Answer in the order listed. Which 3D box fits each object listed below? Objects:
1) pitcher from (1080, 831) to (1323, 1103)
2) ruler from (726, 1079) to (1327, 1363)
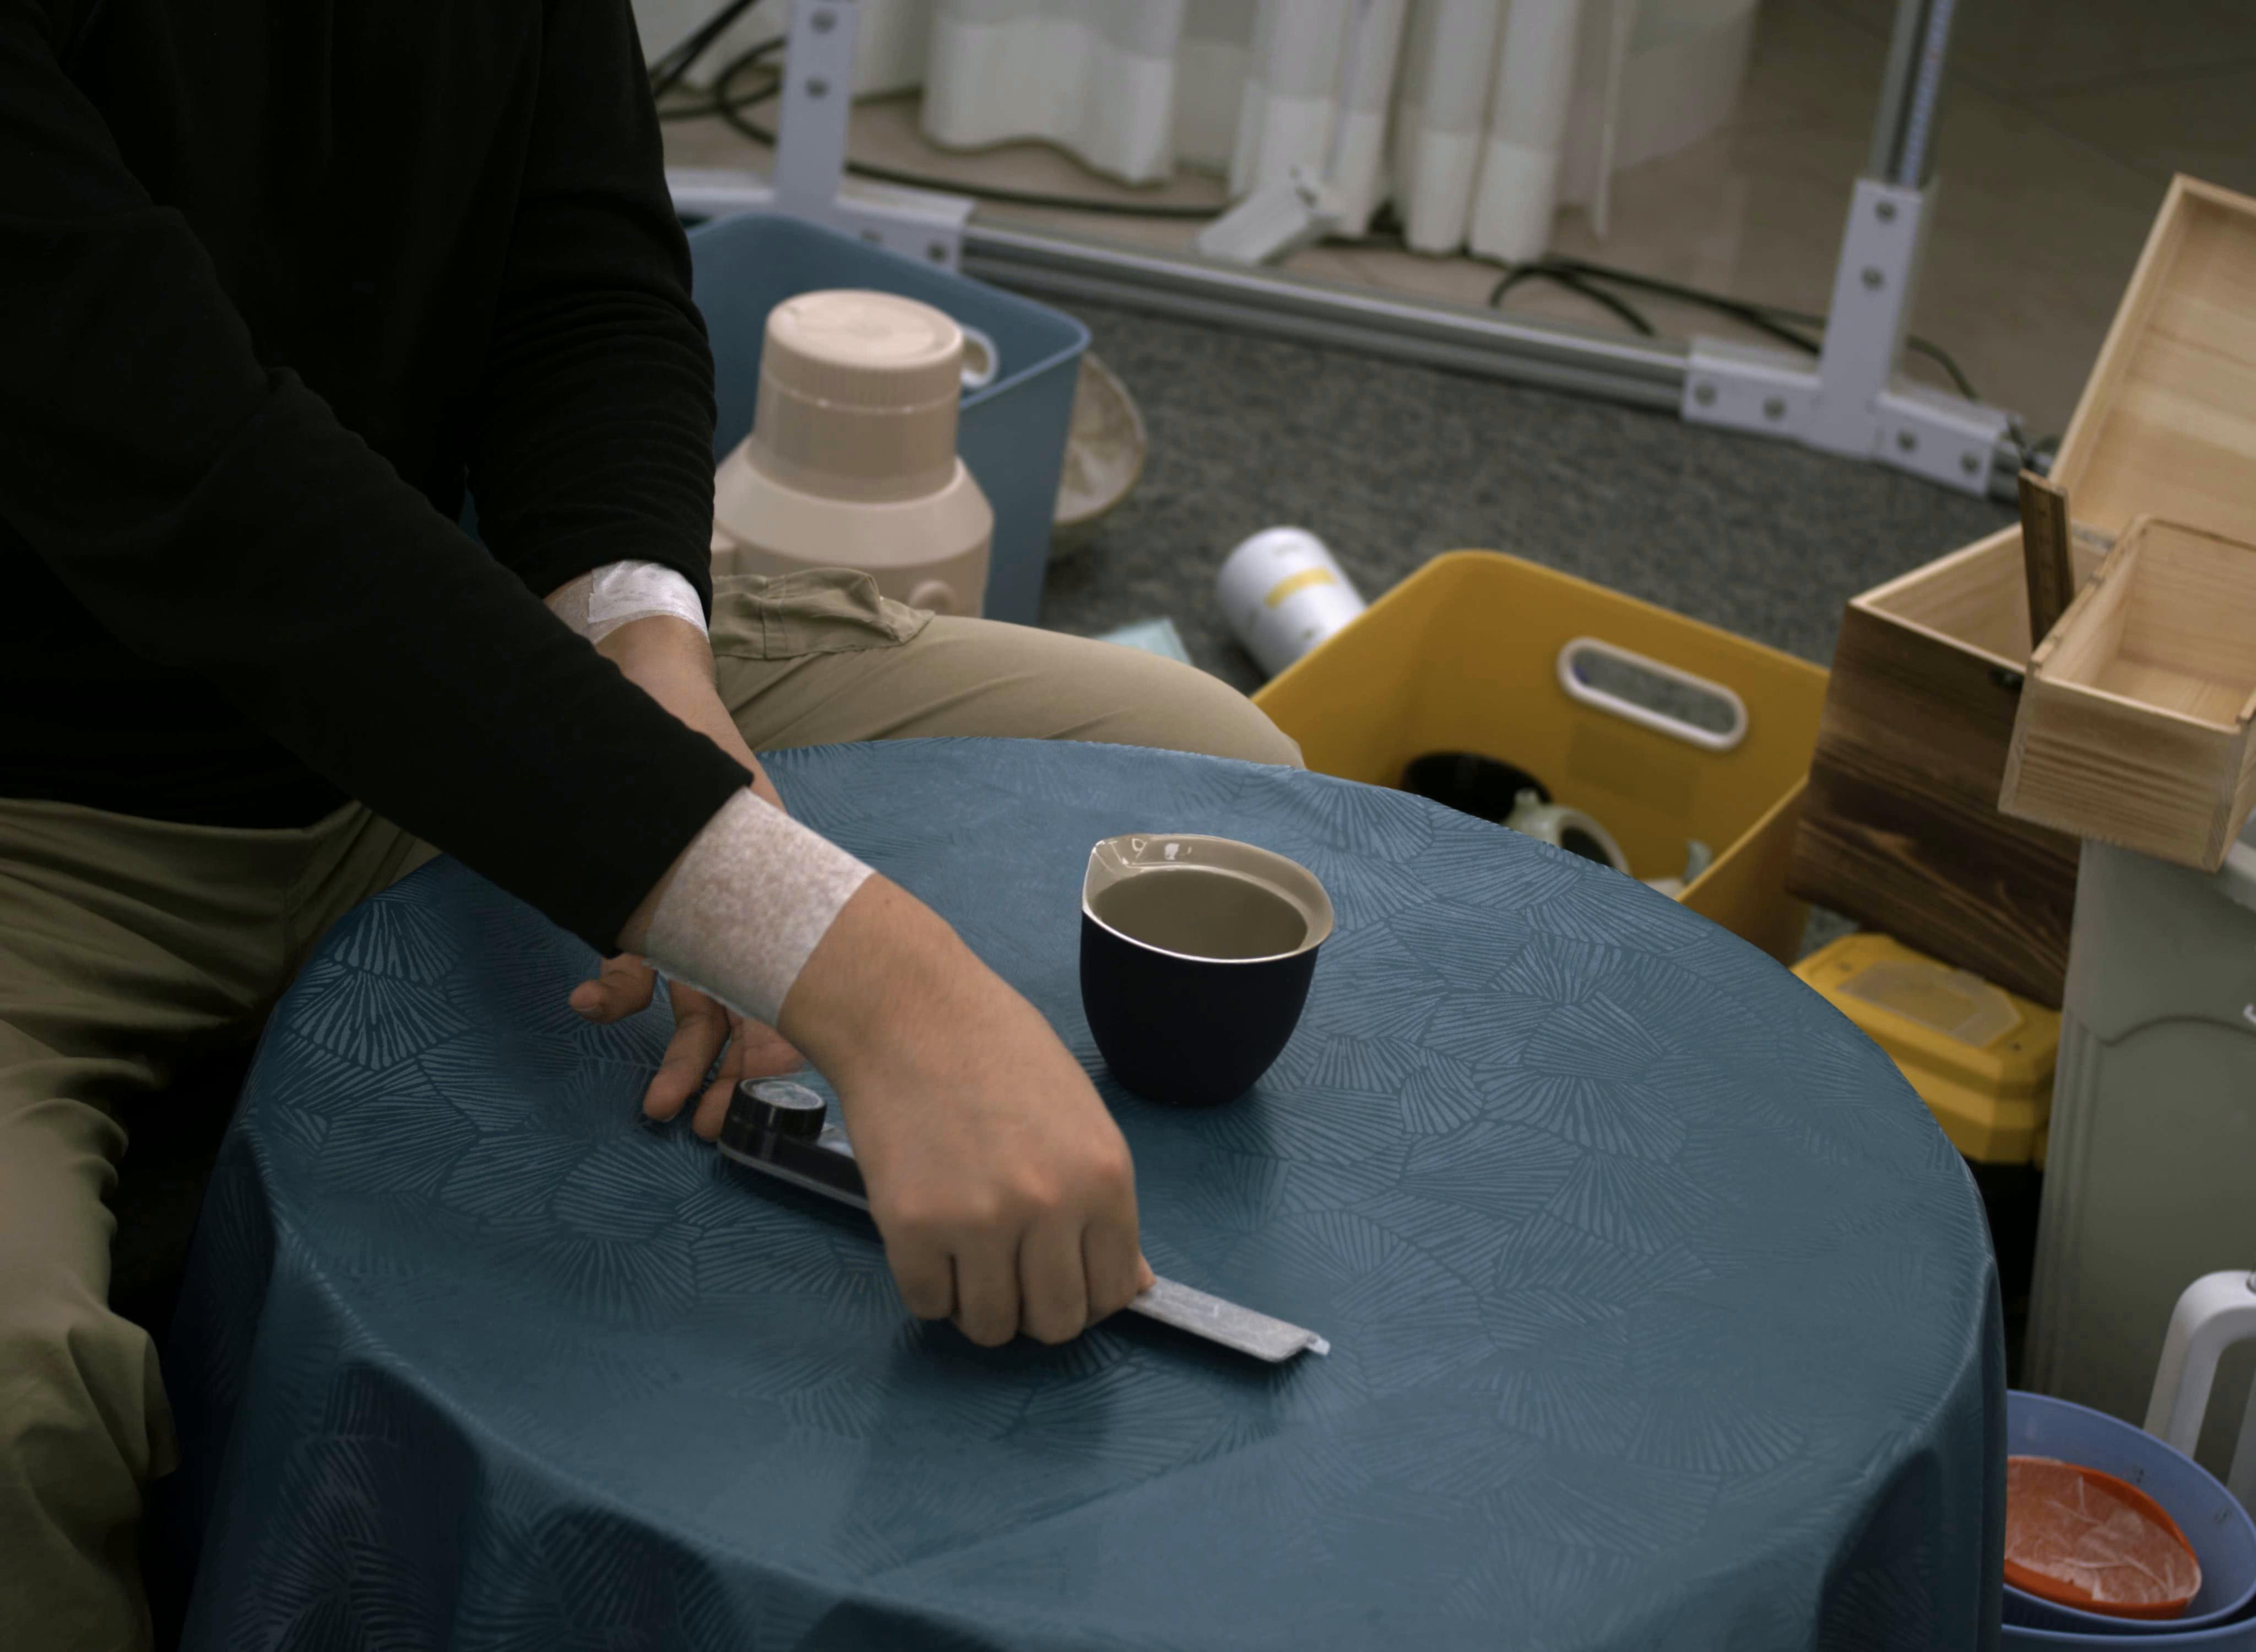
[{"bbox_3d":[0.020,0.052,1.866,0.083,0.071,0.097,-17,36,-37],"label":"pitcher"},{"bbox_3d":[-0.037,0.128,1.750,0.219,0.024,0.038,18,22,24],"label":"ruler"}]
